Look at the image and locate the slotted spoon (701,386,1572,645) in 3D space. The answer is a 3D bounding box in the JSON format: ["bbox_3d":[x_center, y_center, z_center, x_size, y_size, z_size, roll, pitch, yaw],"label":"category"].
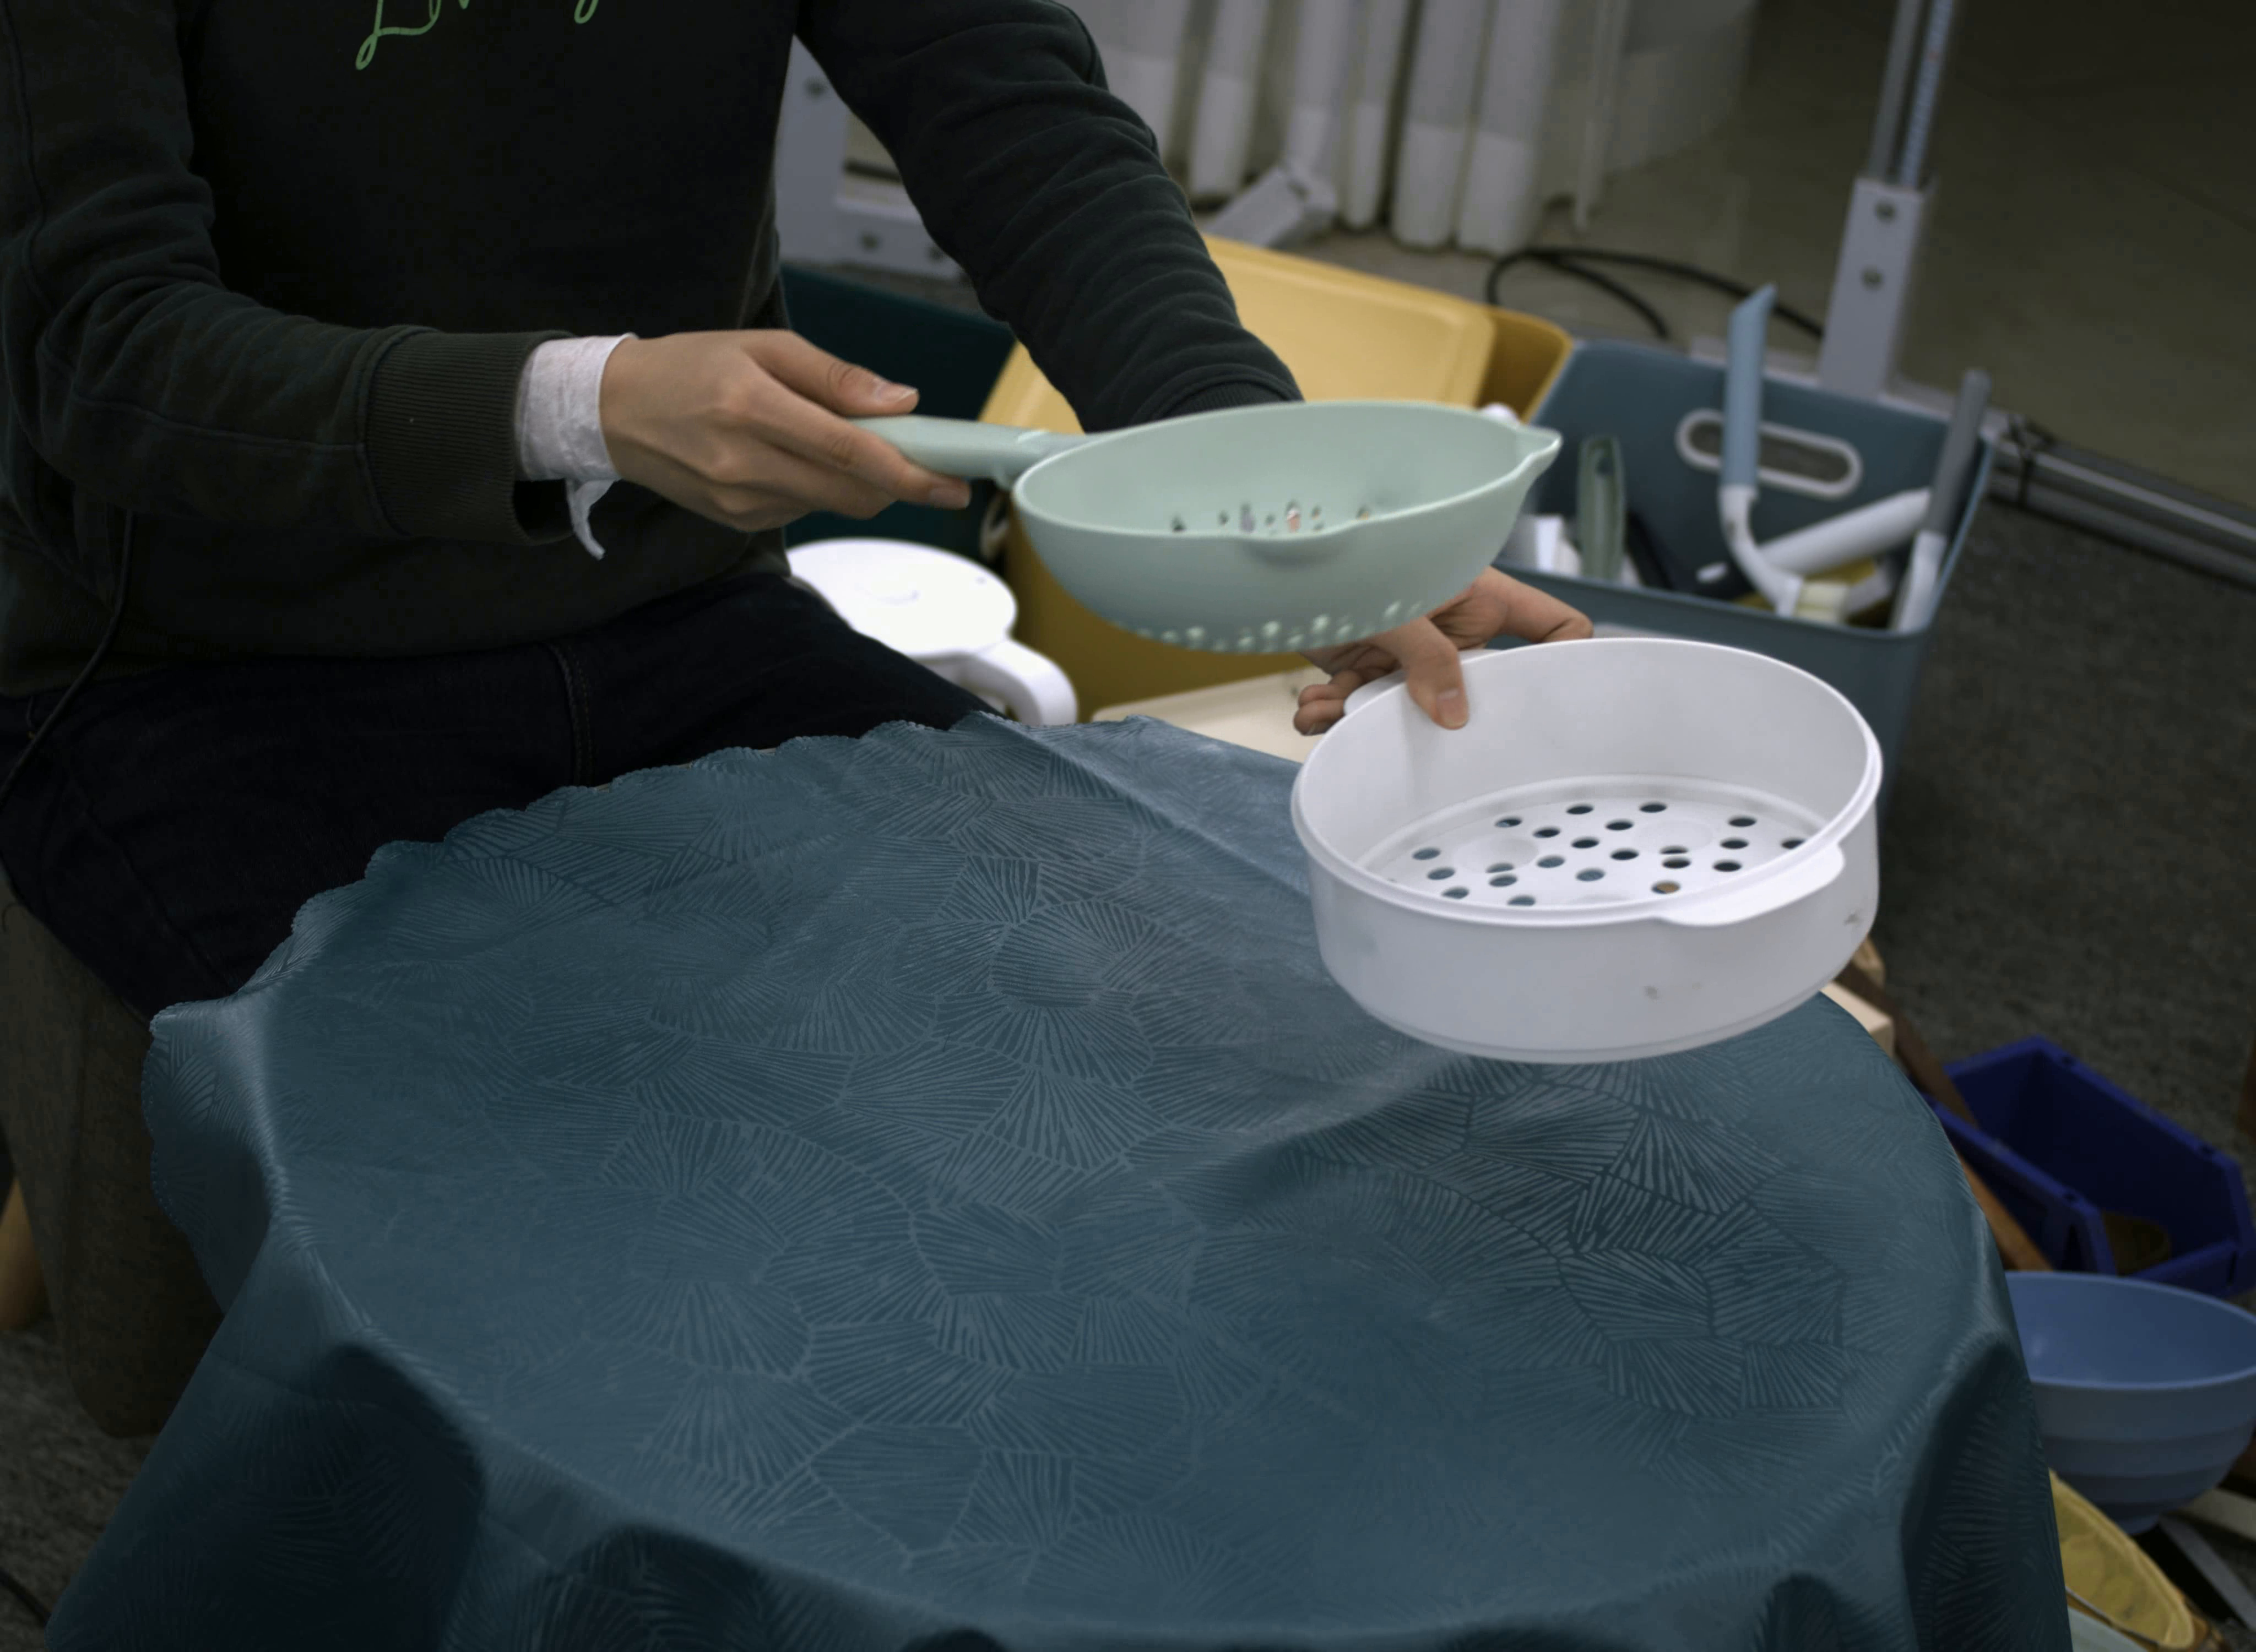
[{"bbox_3d":[-0.019,-0.121,1.790,0.361,0.075,0.168,20,29,39],"label":"slotted spoon"}]

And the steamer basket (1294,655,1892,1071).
[{"bbox_3d":[0.159,0.013,1.805,0.201,0.069,0.232,-20,29,-25],"label":"steamer basket"}]
